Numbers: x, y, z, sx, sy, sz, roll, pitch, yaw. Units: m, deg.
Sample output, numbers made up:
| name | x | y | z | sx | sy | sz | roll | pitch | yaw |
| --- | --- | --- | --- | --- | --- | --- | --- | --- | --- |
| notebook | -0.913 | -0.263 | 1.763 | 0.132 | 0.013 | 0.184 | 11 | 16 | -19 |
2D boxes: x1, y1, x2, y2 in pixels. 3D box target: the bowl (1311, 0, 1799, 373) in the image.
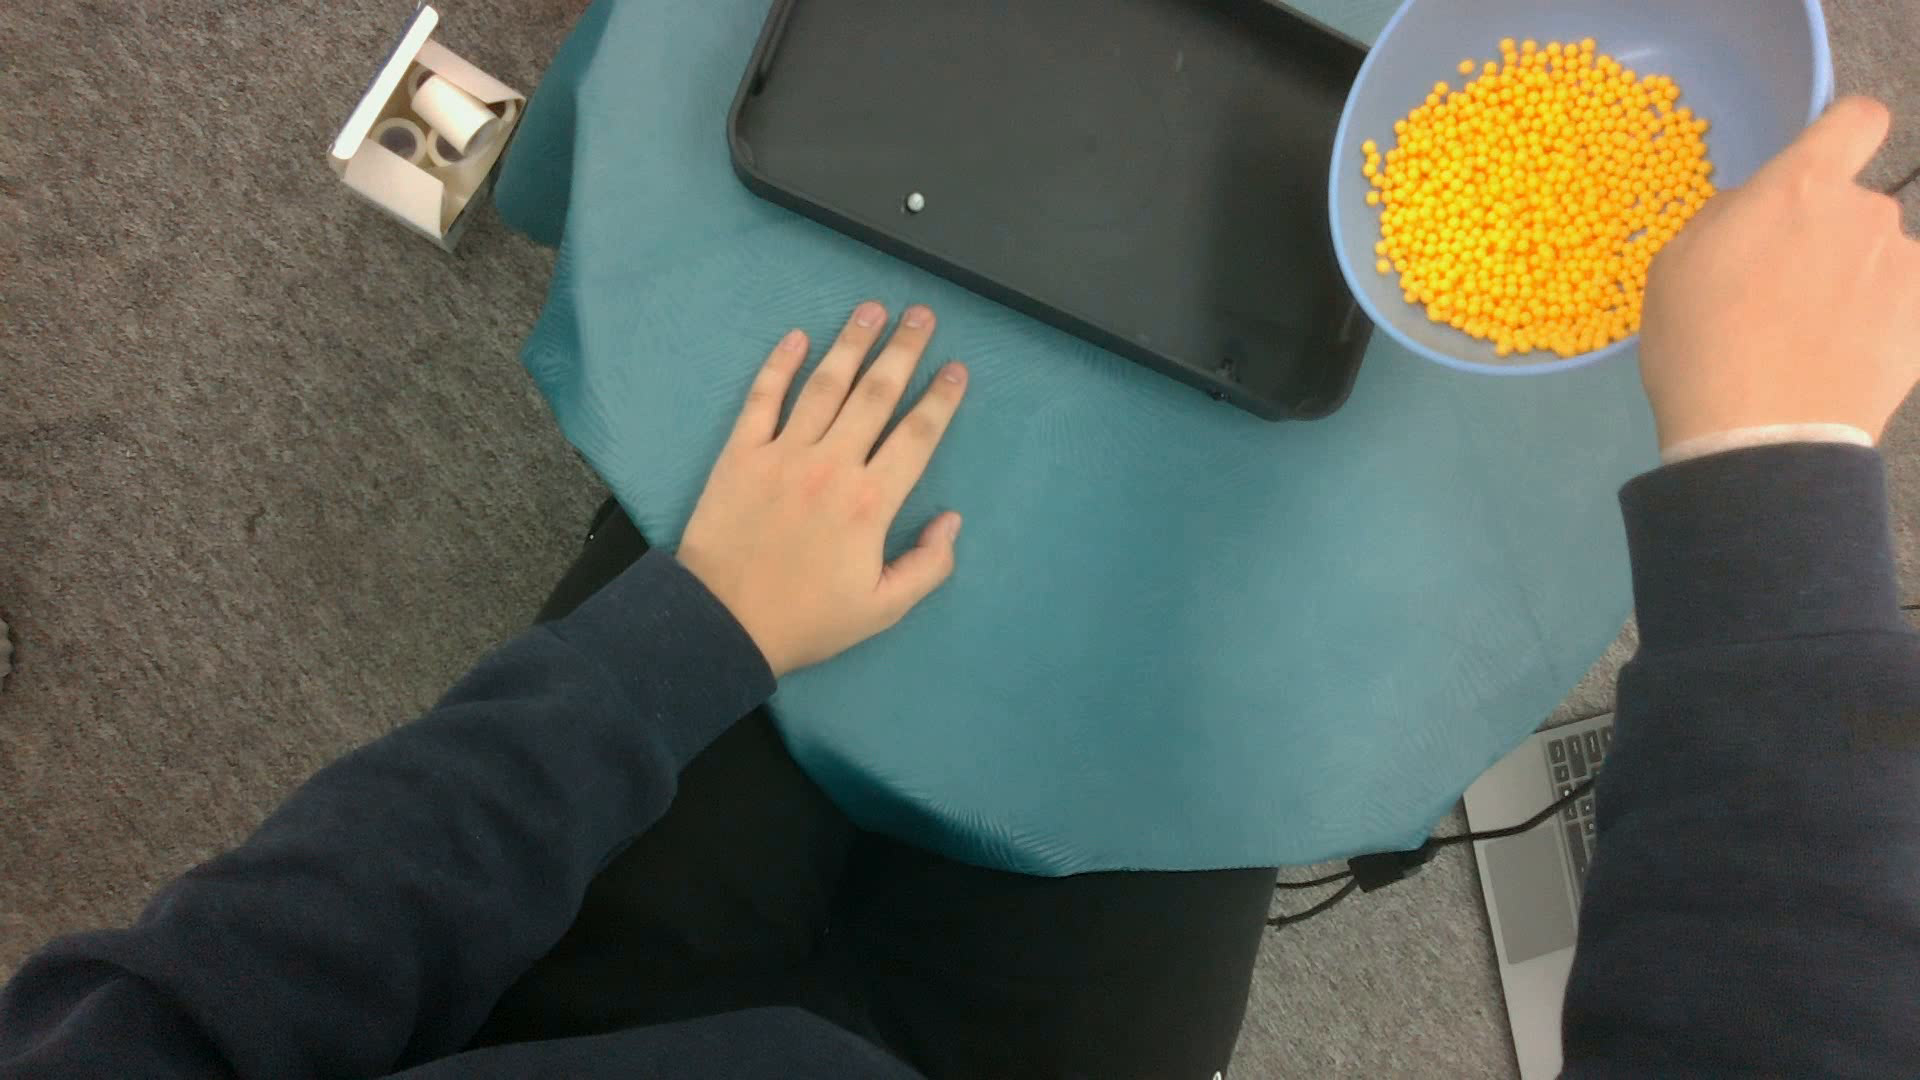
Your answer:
| name | x | y | z | sx | sy | sz | roll | pitch | yaw |
| --- | --- | --- | --- | --- | --- | --- | --- | --- | --- |
| bowl | 0.260 | -0.160 | 0.586 | 0.095 | 0.196 | 0.196 | 9 | 86 | -41 |

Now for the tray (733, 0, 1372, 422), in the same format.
| name | x | y | z | sx | sy | sz | roll | pitch | yaw |
| --- | --- | --- | --- | --- | --- | --- | --- | --- | --- |
| tray | 0.065 | -0.191 | 0.669 | 0.318 | 0.037 | 0.184 | 20 | 84 | -11 |
